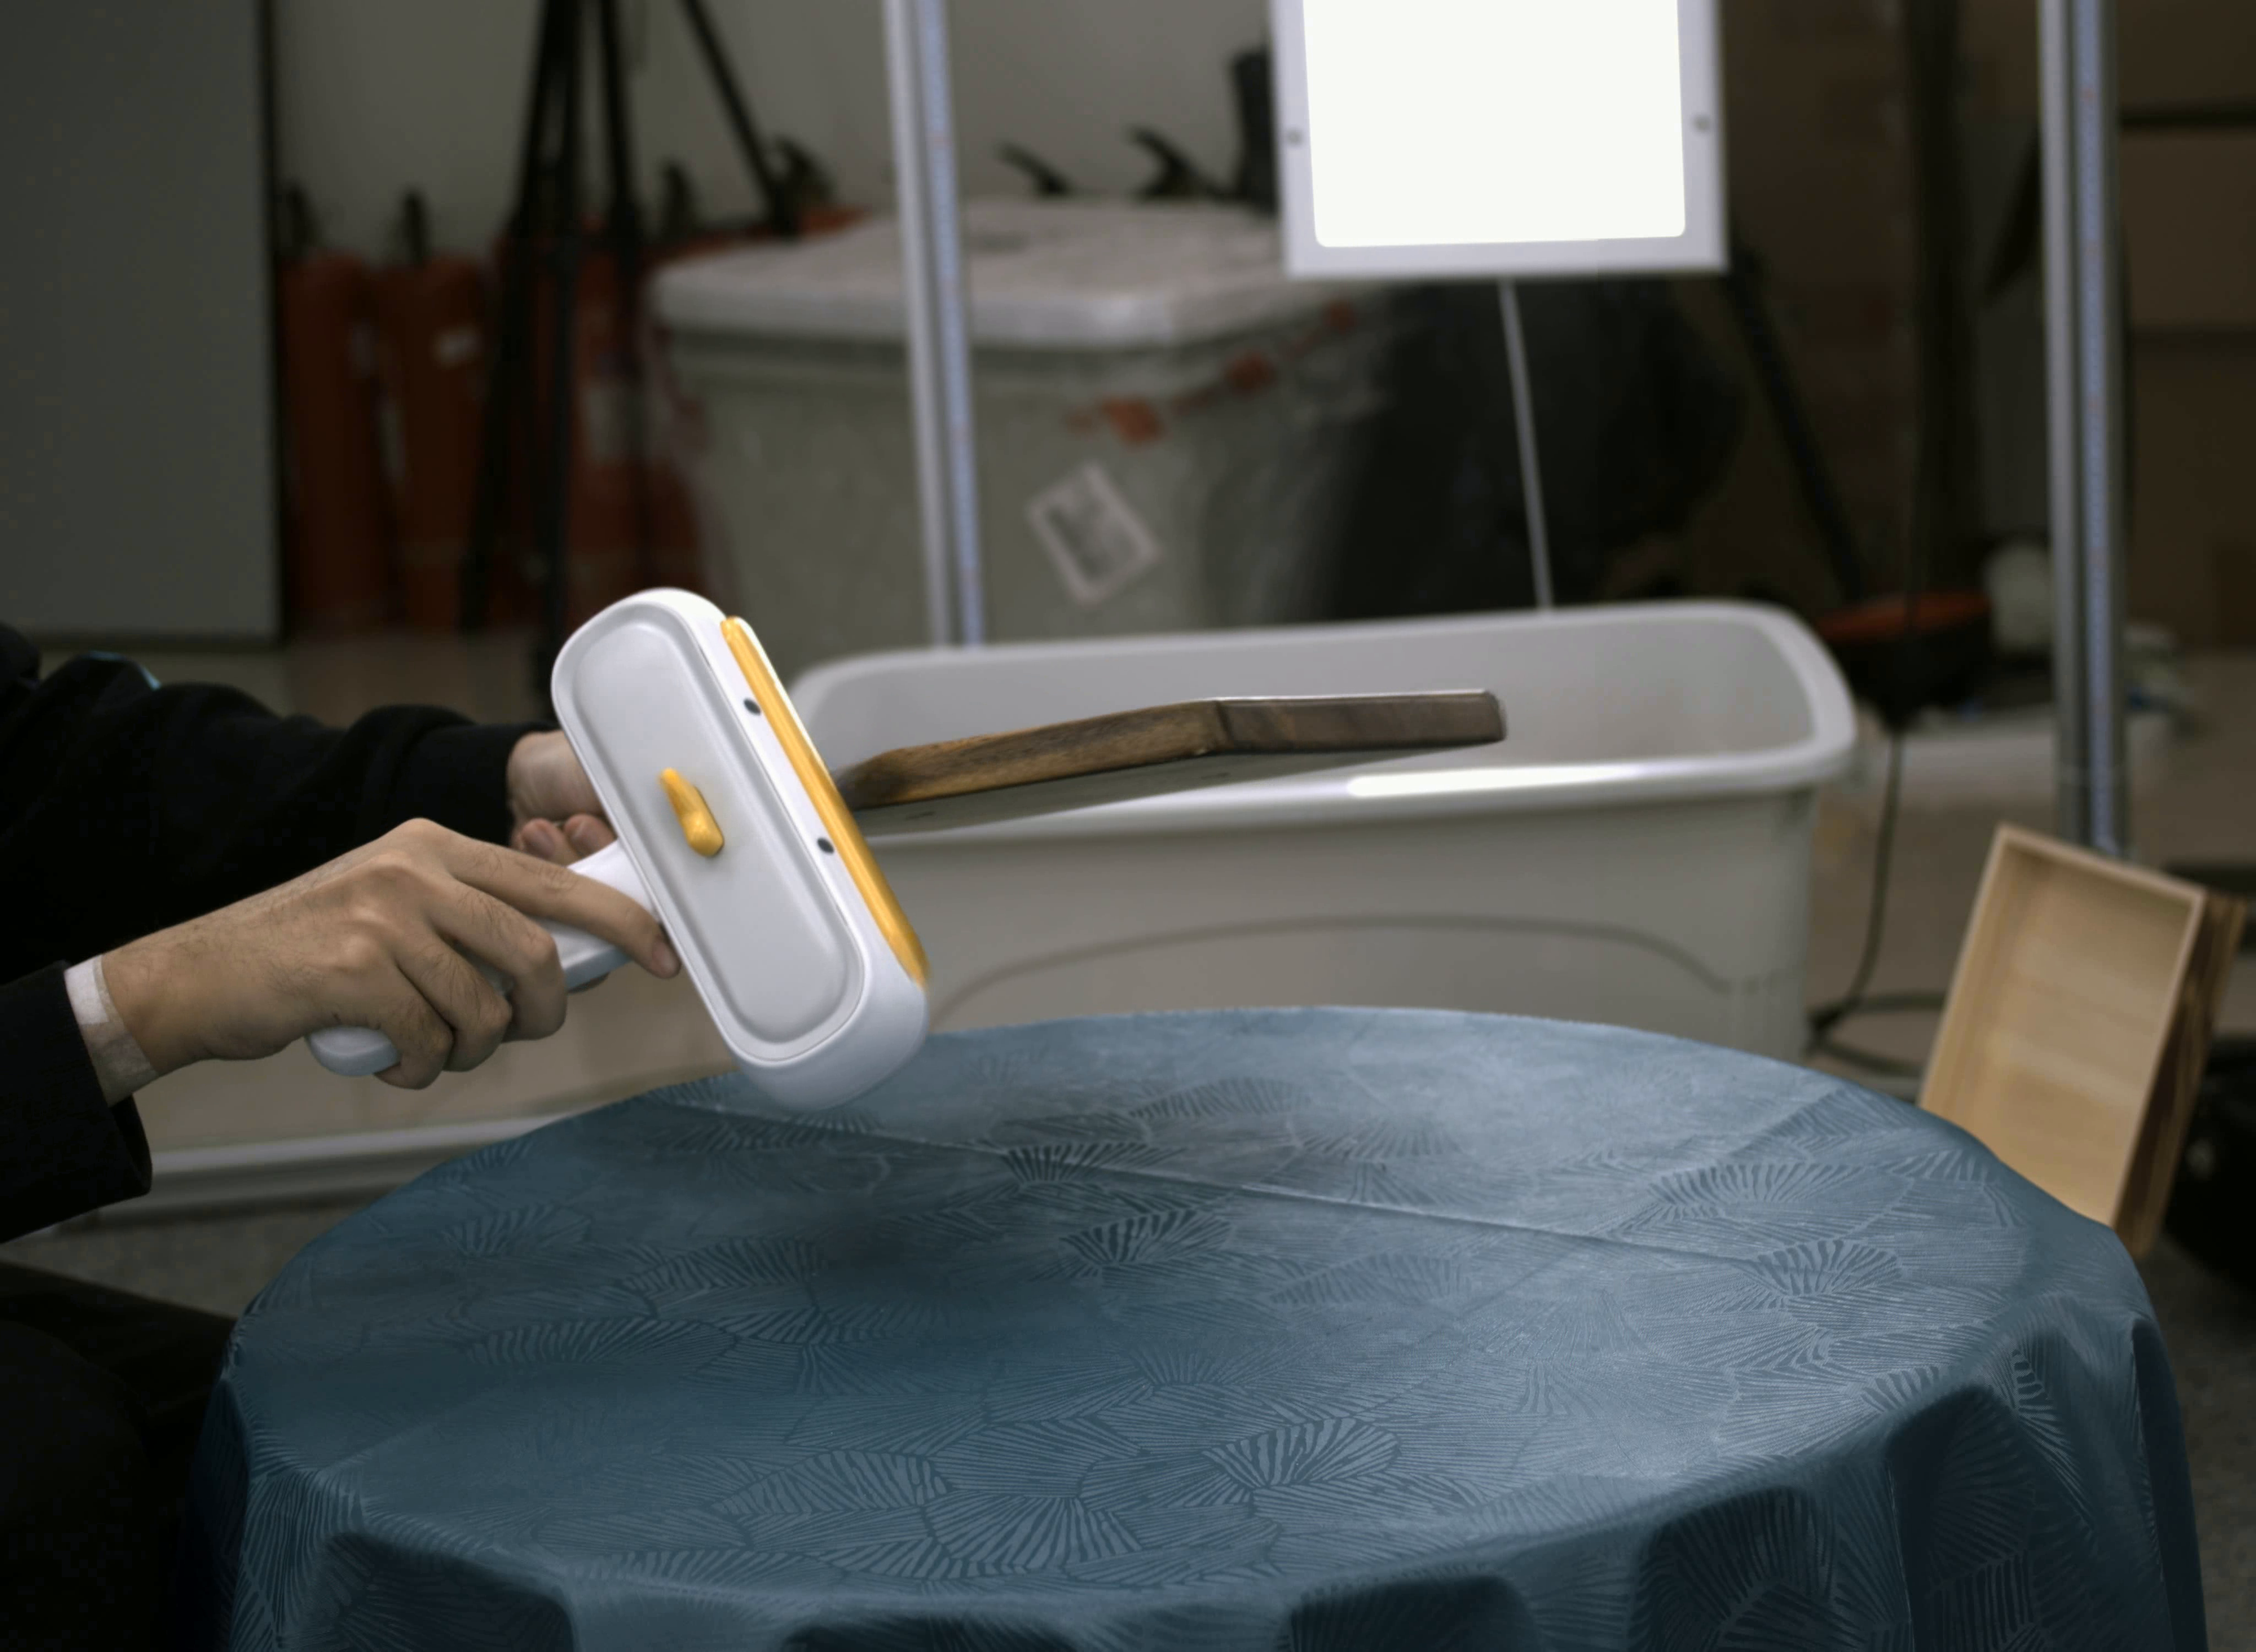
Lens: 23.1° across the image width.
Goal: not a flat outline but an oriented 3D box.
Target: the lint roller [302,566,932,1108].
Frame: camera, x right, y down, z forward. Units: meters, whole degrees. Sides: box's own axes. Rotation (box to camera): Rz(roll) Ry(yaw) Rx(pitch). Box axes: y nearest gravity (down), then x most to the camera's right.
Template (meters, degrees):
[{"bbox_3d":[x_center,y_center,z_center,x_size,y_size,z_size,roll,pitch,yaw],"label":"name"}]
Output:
[{"bbox_3d":[-0.182,0.030,1.814,0.192,0.194,0.073,-35,-20,2],"label":"lint roller"}]

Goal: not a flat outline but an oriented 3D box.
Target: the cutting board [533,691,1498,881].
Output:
[{"bbox_3d":[-0.065,-0.012,1.924,0.359,0.023,0.196,-9,-3,34],"label":"cutting board"}]
